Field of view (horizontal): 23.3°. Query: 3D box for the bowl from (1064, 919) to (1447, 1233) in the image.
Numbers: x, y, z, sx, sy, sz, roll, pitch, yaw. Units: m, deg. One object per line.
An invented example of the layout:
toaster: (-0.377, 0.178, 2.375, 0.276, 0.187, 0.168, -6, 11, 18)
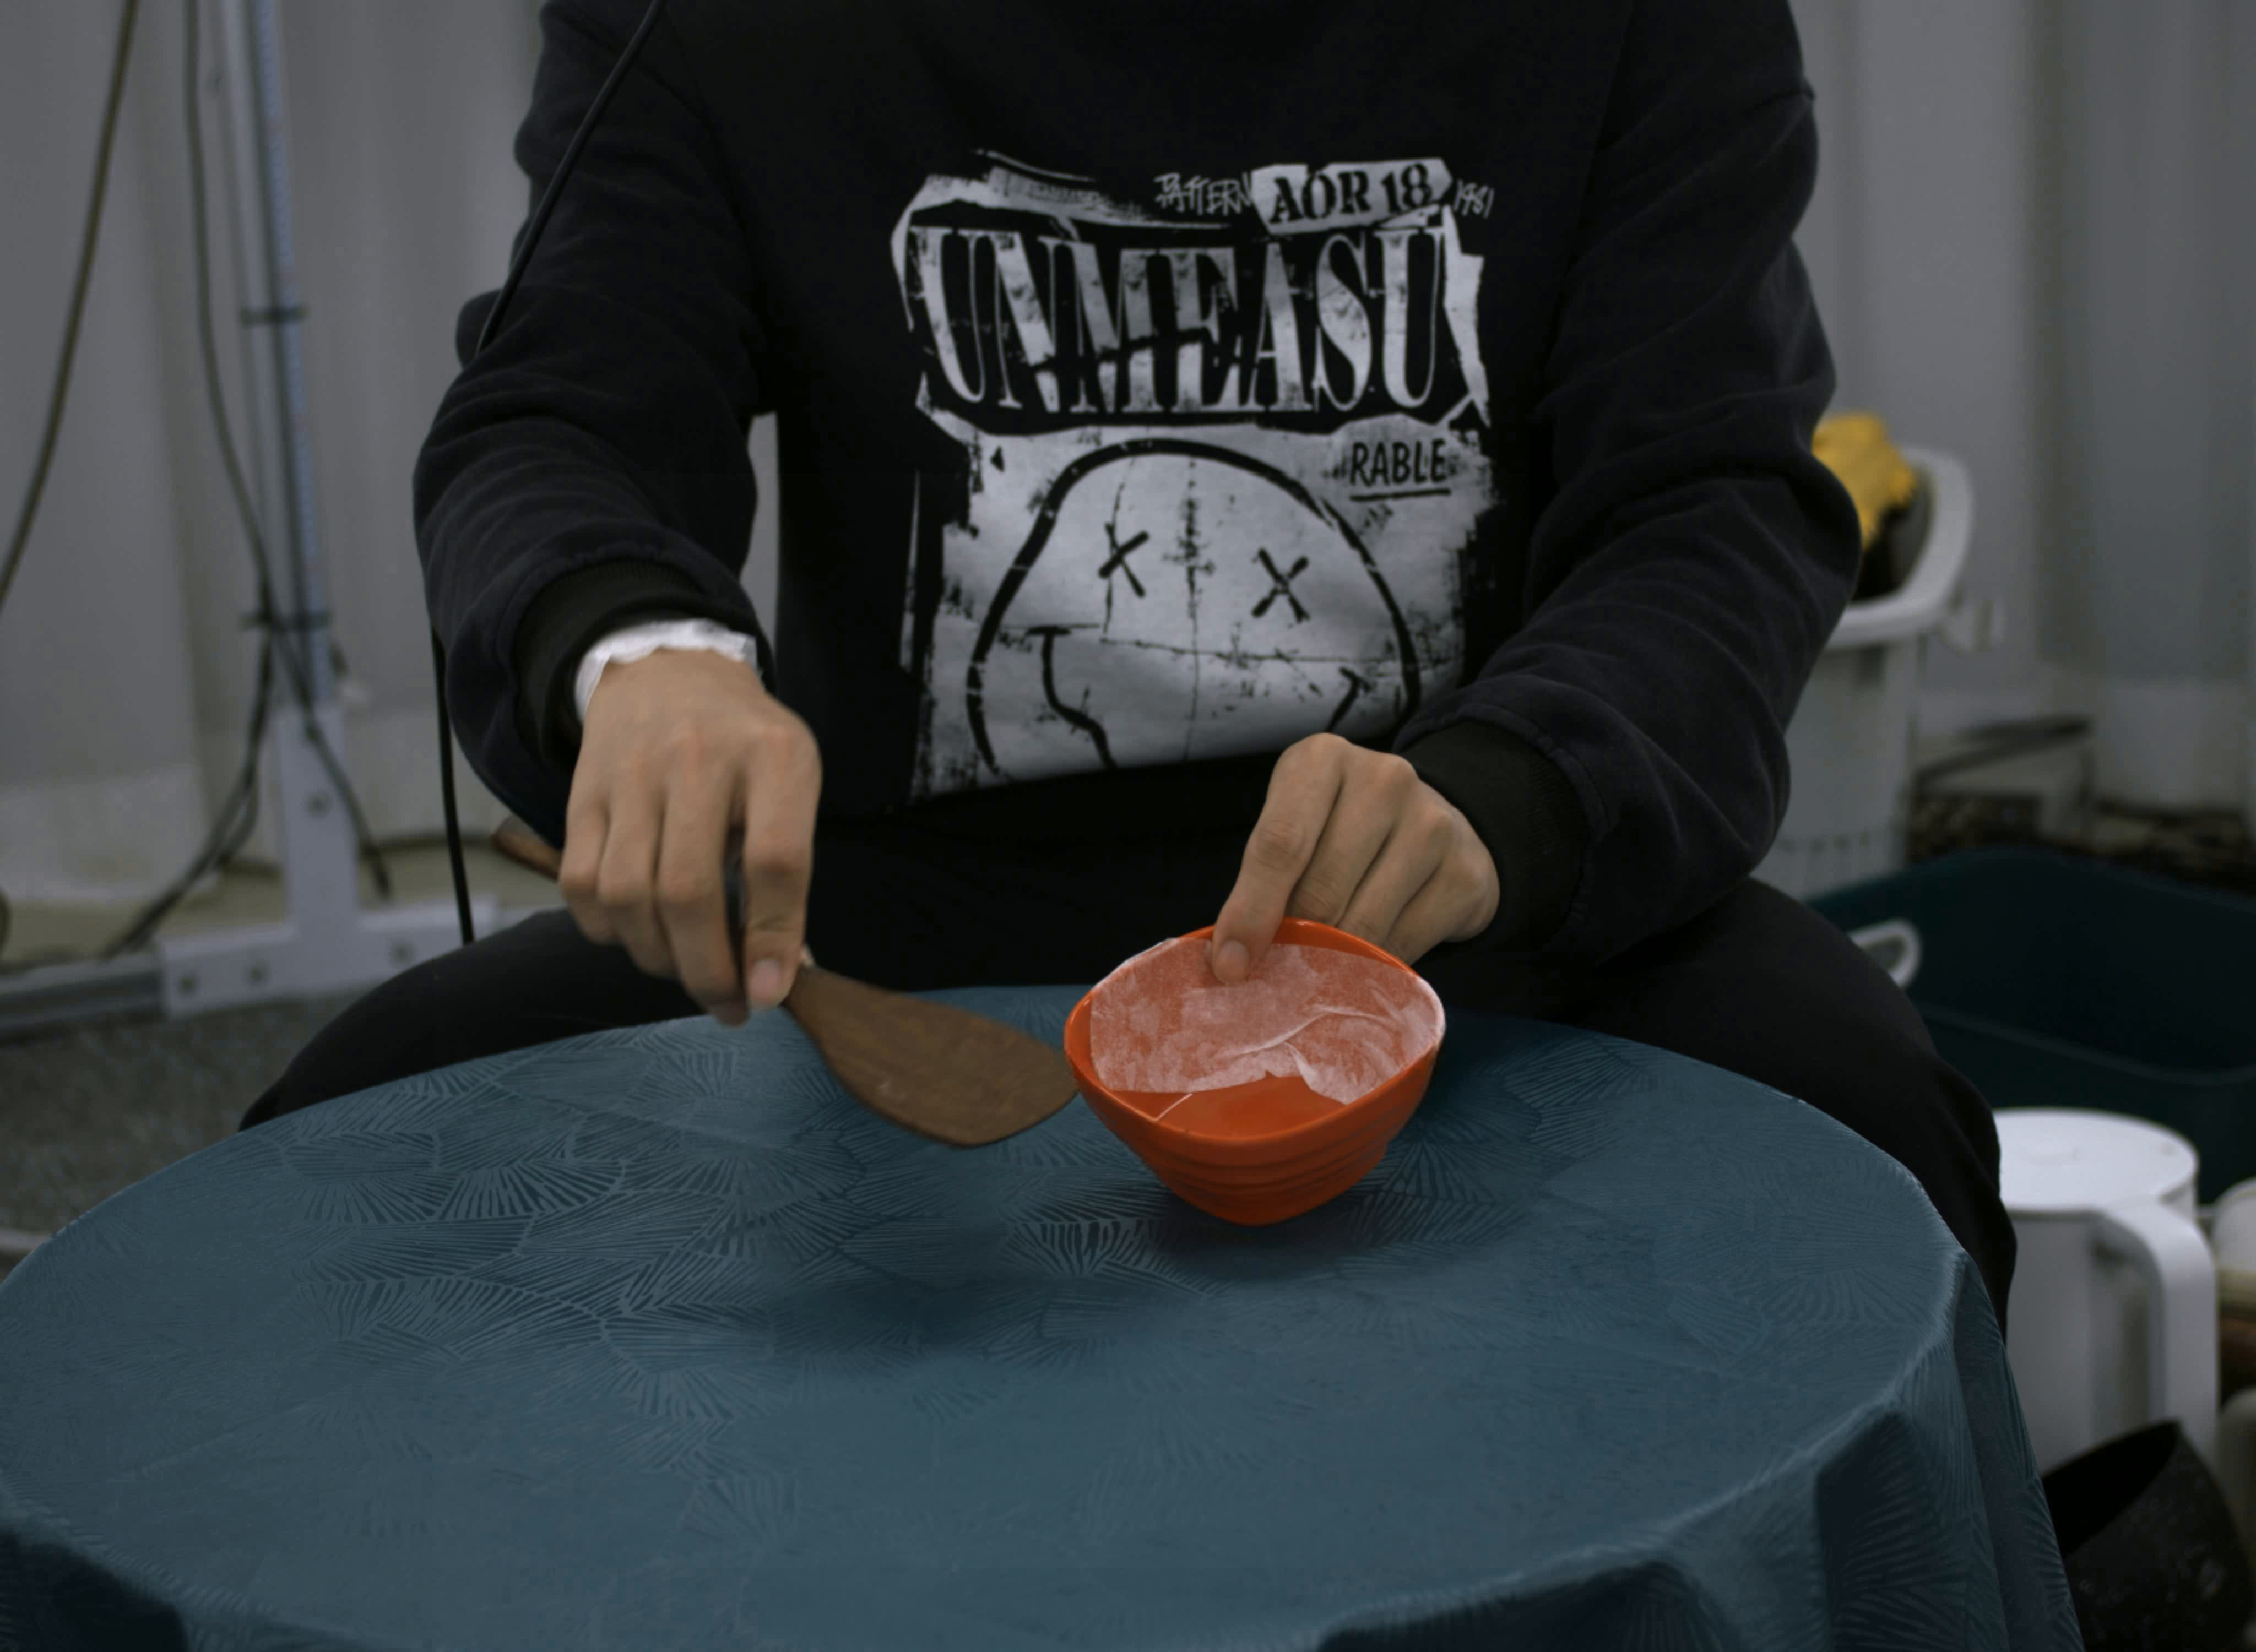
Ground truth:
bowl: (0.041, 0.082, 1.694, 0.118, 0.051, 0.120, -5, 33, 3)

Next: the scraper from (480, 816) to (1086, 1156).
scraper: (-0.111, 0.046, 1.655, 0.212, 0.011, 0.076, 28, 28, 25)
